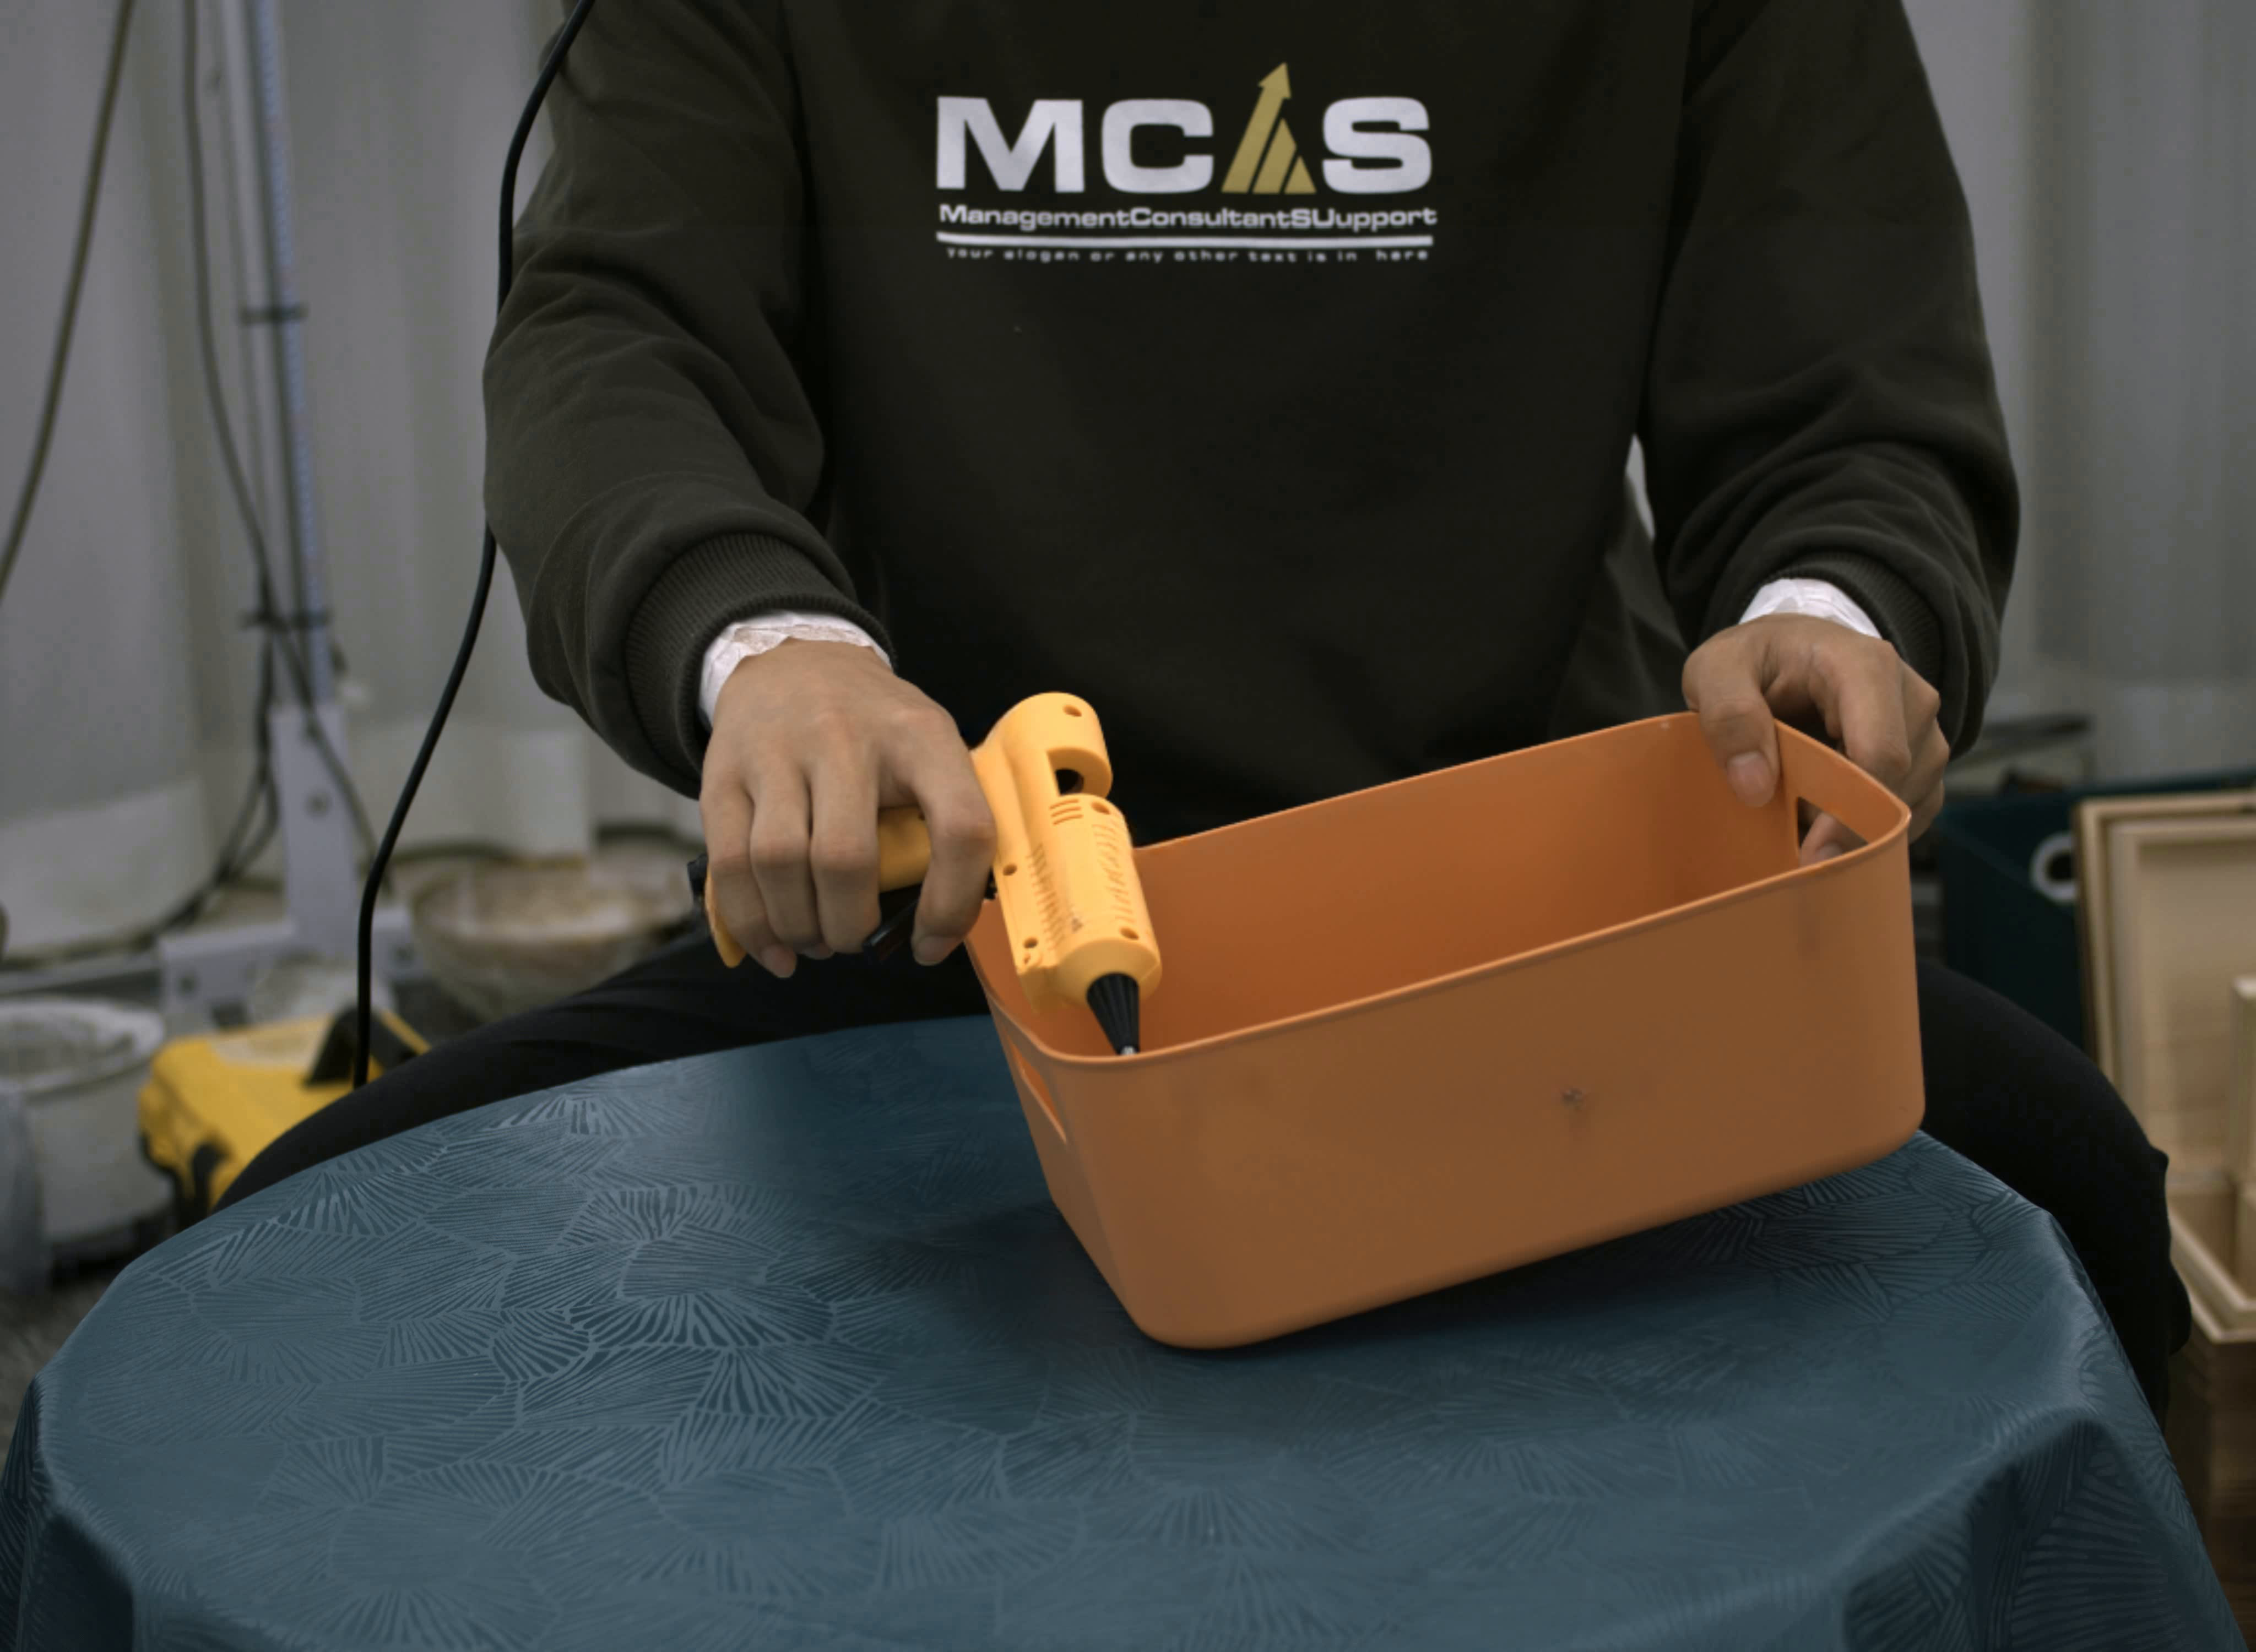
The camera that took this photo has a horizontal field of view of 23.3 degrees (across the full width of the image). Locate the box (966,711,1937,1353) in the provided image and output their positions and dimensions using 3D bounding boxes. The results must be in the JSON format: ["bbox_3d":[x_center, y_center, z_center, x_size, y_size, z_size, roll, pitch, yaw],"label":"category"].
[{"bbox_3d":[0.099,0.061,1.646,0.272,0.102,0.201,-16,15,-10],"label":"box"}]

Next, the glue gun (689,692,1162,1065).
[{"bbox_3d":[-0.053,0.034,1.591,0.133,0.030,0.153,-22,41,0],"label":"glue gun"}]
